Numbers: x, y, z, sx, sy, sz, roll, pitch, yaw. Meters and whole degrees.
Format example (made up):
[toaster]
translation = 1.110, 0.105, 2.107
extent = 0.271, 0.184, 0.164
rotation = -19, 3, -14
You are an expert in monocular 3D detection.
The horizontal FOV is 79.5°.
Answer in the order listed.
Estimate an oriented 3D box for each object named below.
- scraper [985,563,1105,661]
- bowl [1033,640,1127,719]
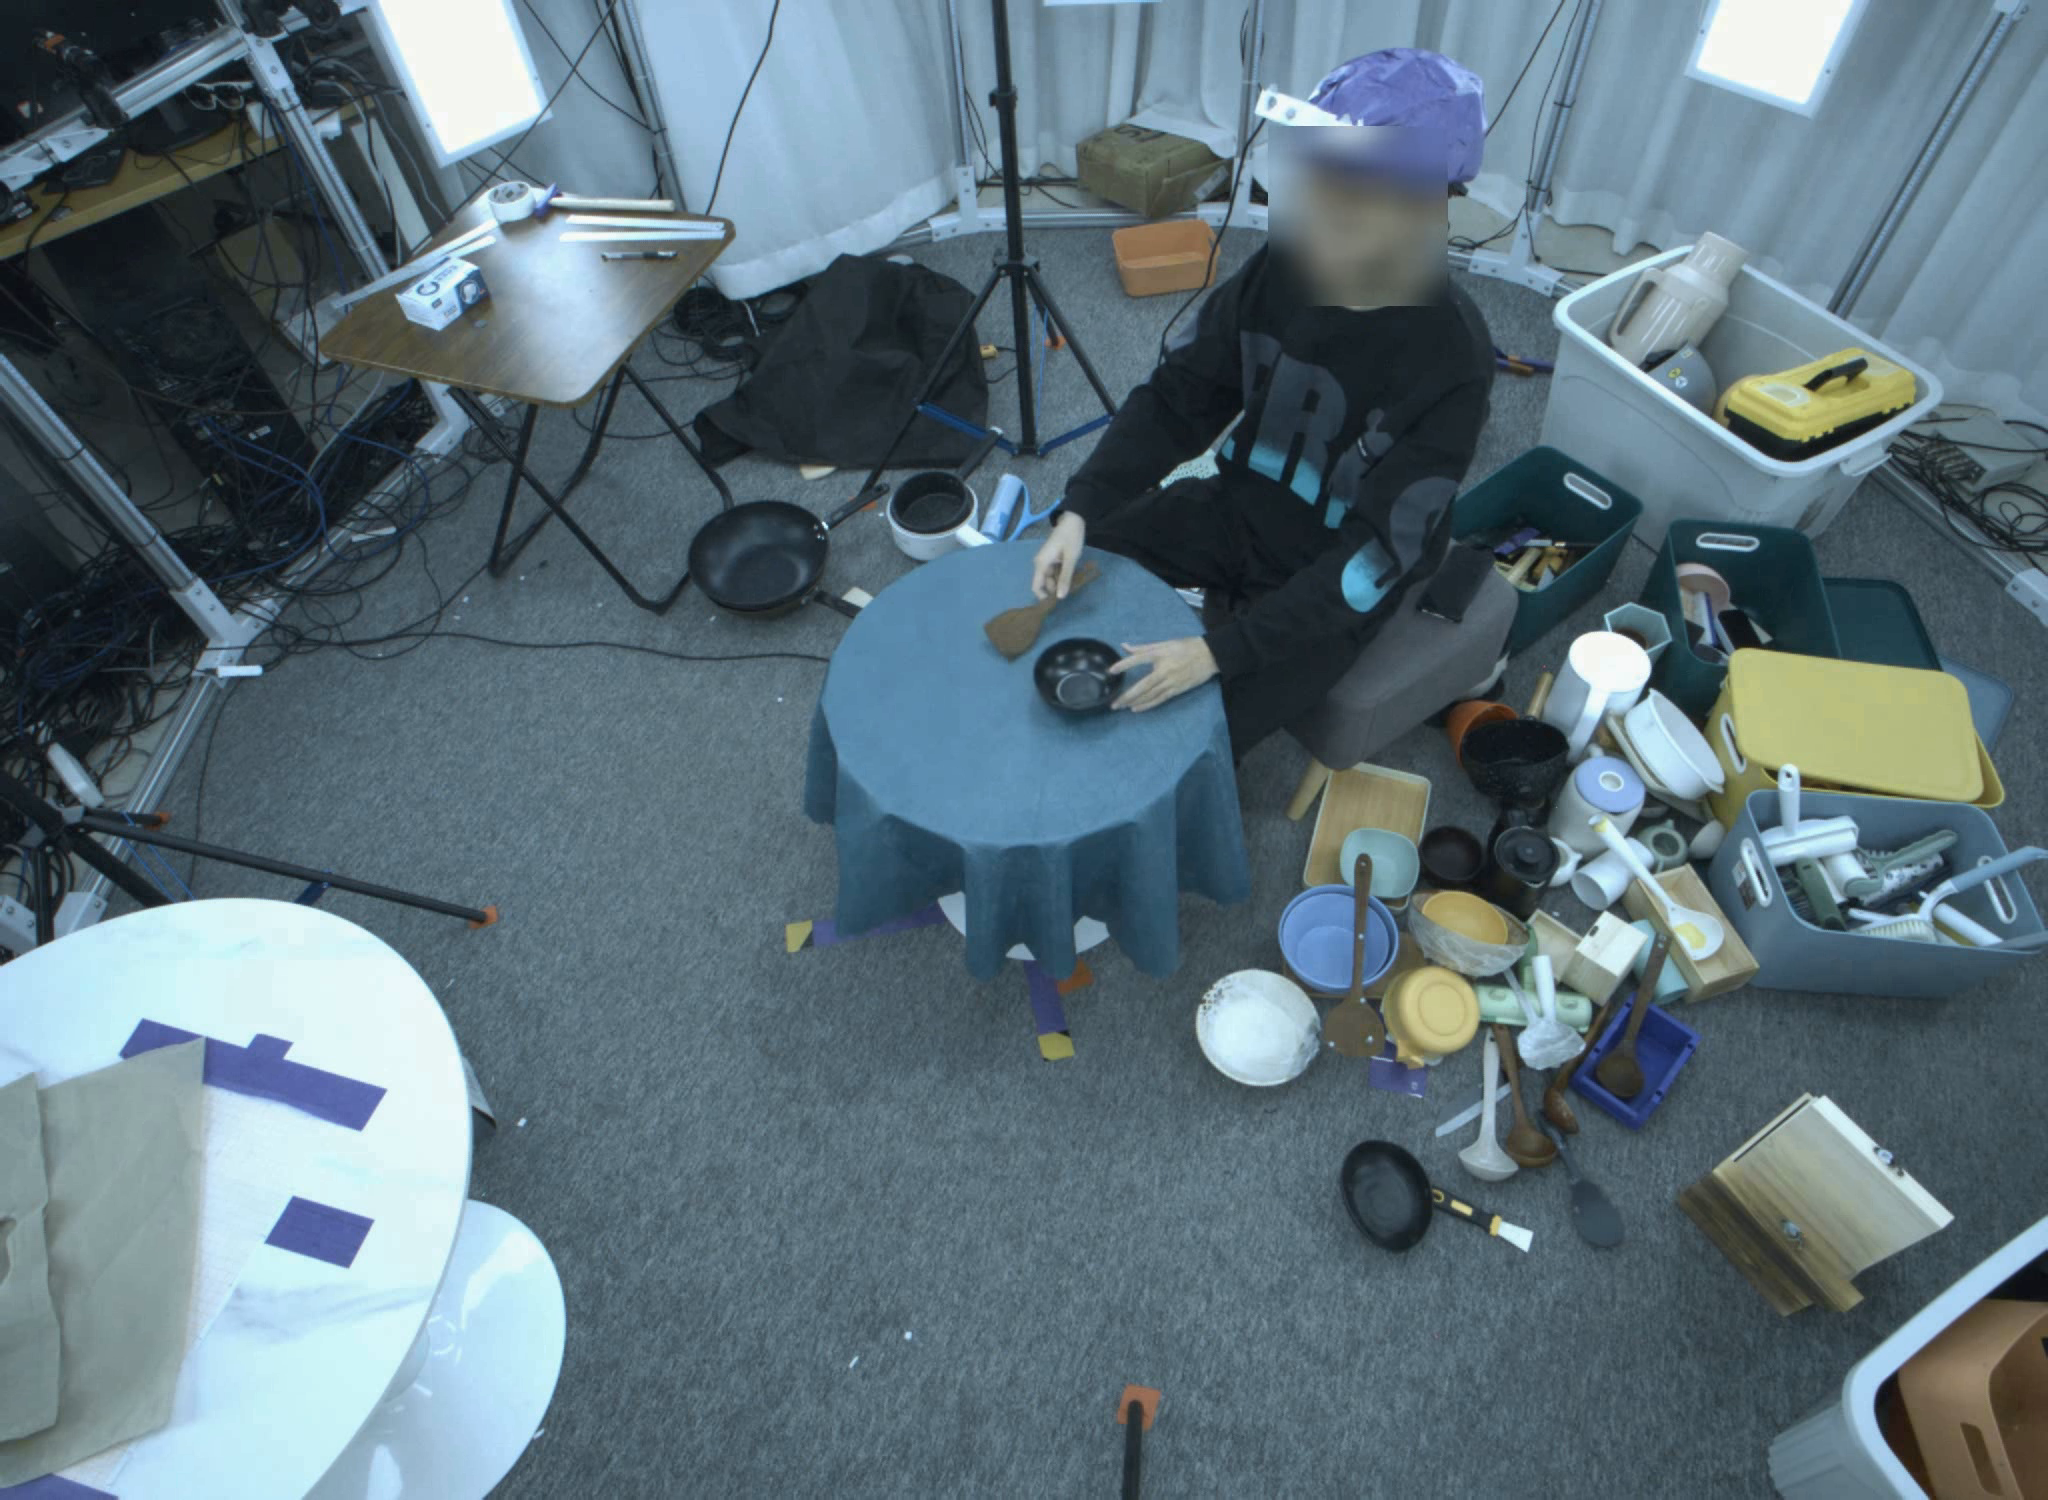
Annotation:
[scraper]
translation = 0.038, -0.222, 1.907
extent = 0.212, 0.011, 0.075
rotation = -38, 82, -7
[bowl]
translation = 0.085, -0.096, 1.832
extent = 0.140, 0.050, 0.138
rotation = -2, 53, 4
